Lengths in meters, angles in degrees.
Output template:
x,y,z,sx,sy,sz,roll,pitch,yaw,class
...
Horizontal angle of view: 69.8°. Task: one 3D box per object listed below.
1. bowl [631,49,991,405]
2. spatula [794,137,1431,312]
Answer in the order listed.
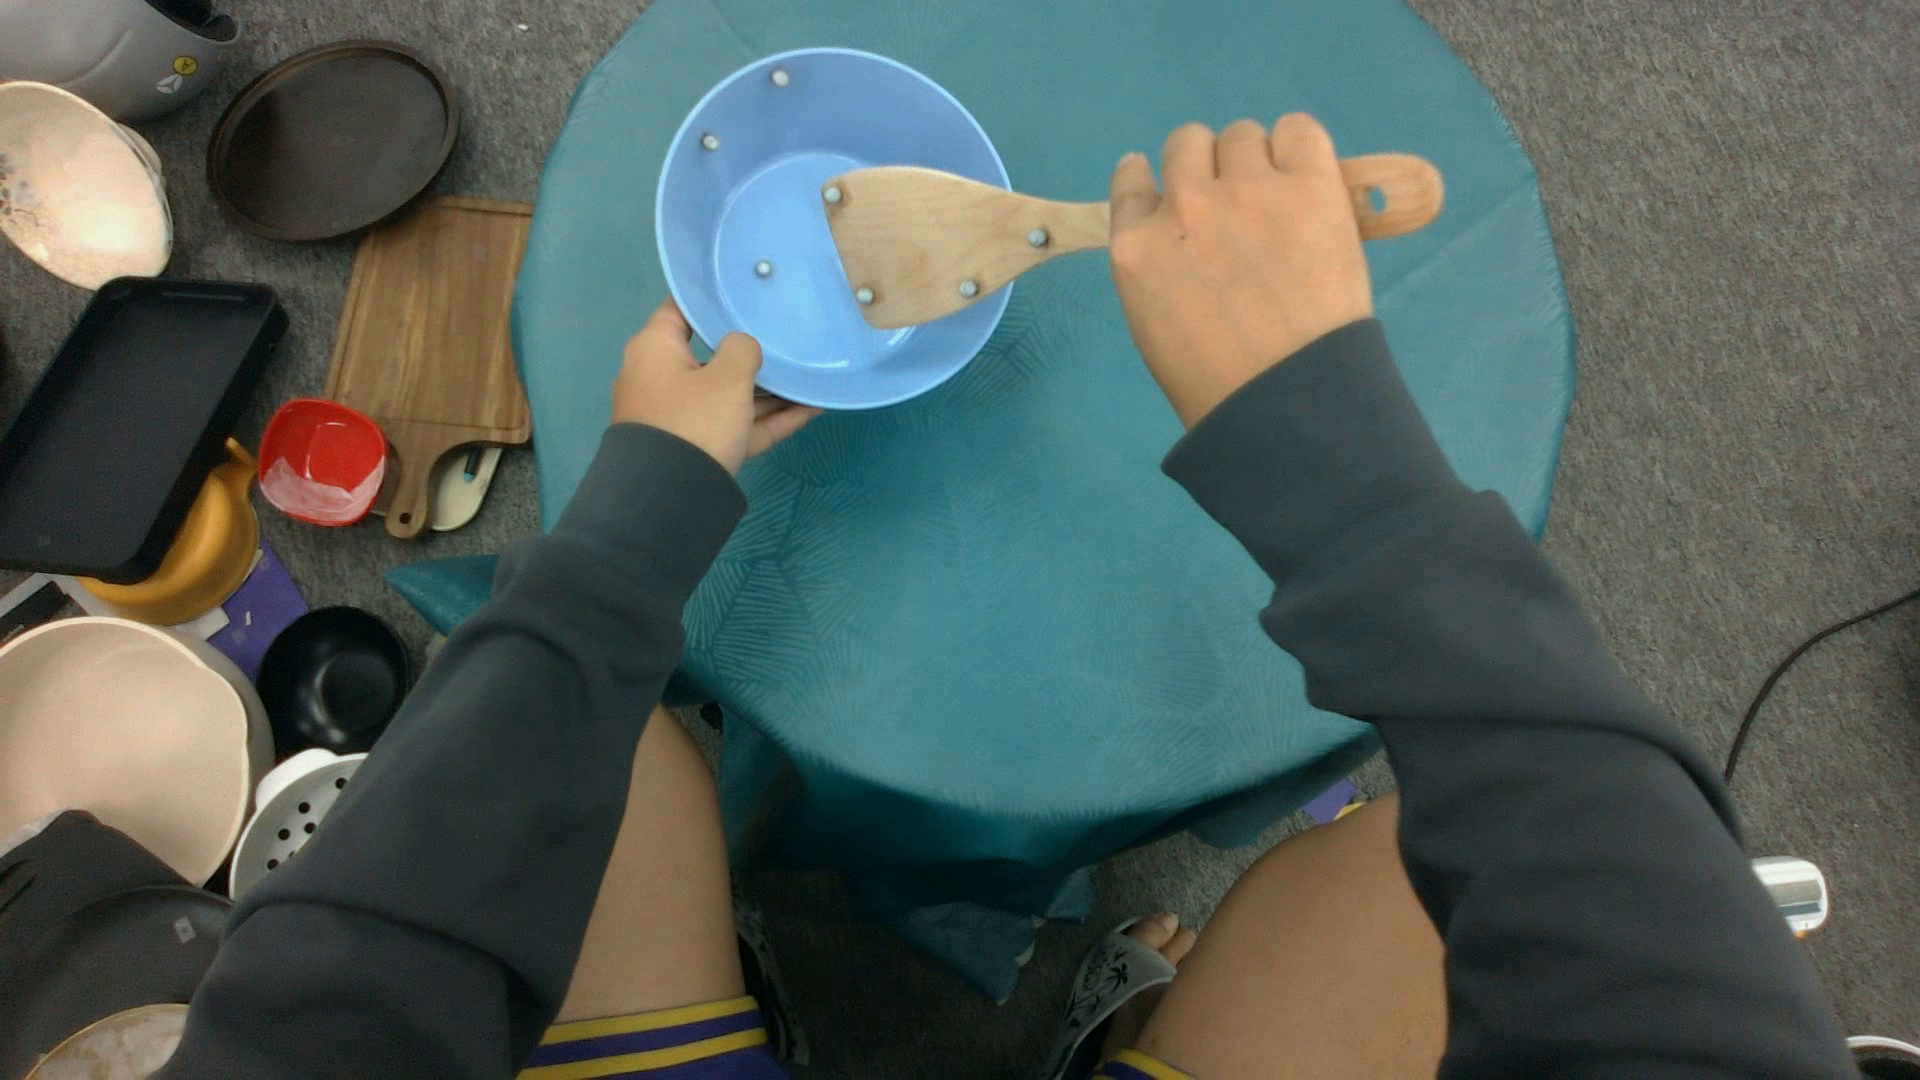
x,y,z,sx,sy,sz,roll,pitch,yaw,class
-0.077,-0.149,0.692,0.176,0.070,0.176,2,84,-16,bowl
0.040,-0.134,0.564,0.016,0.327,0.080,-27,114,-37,spatula
